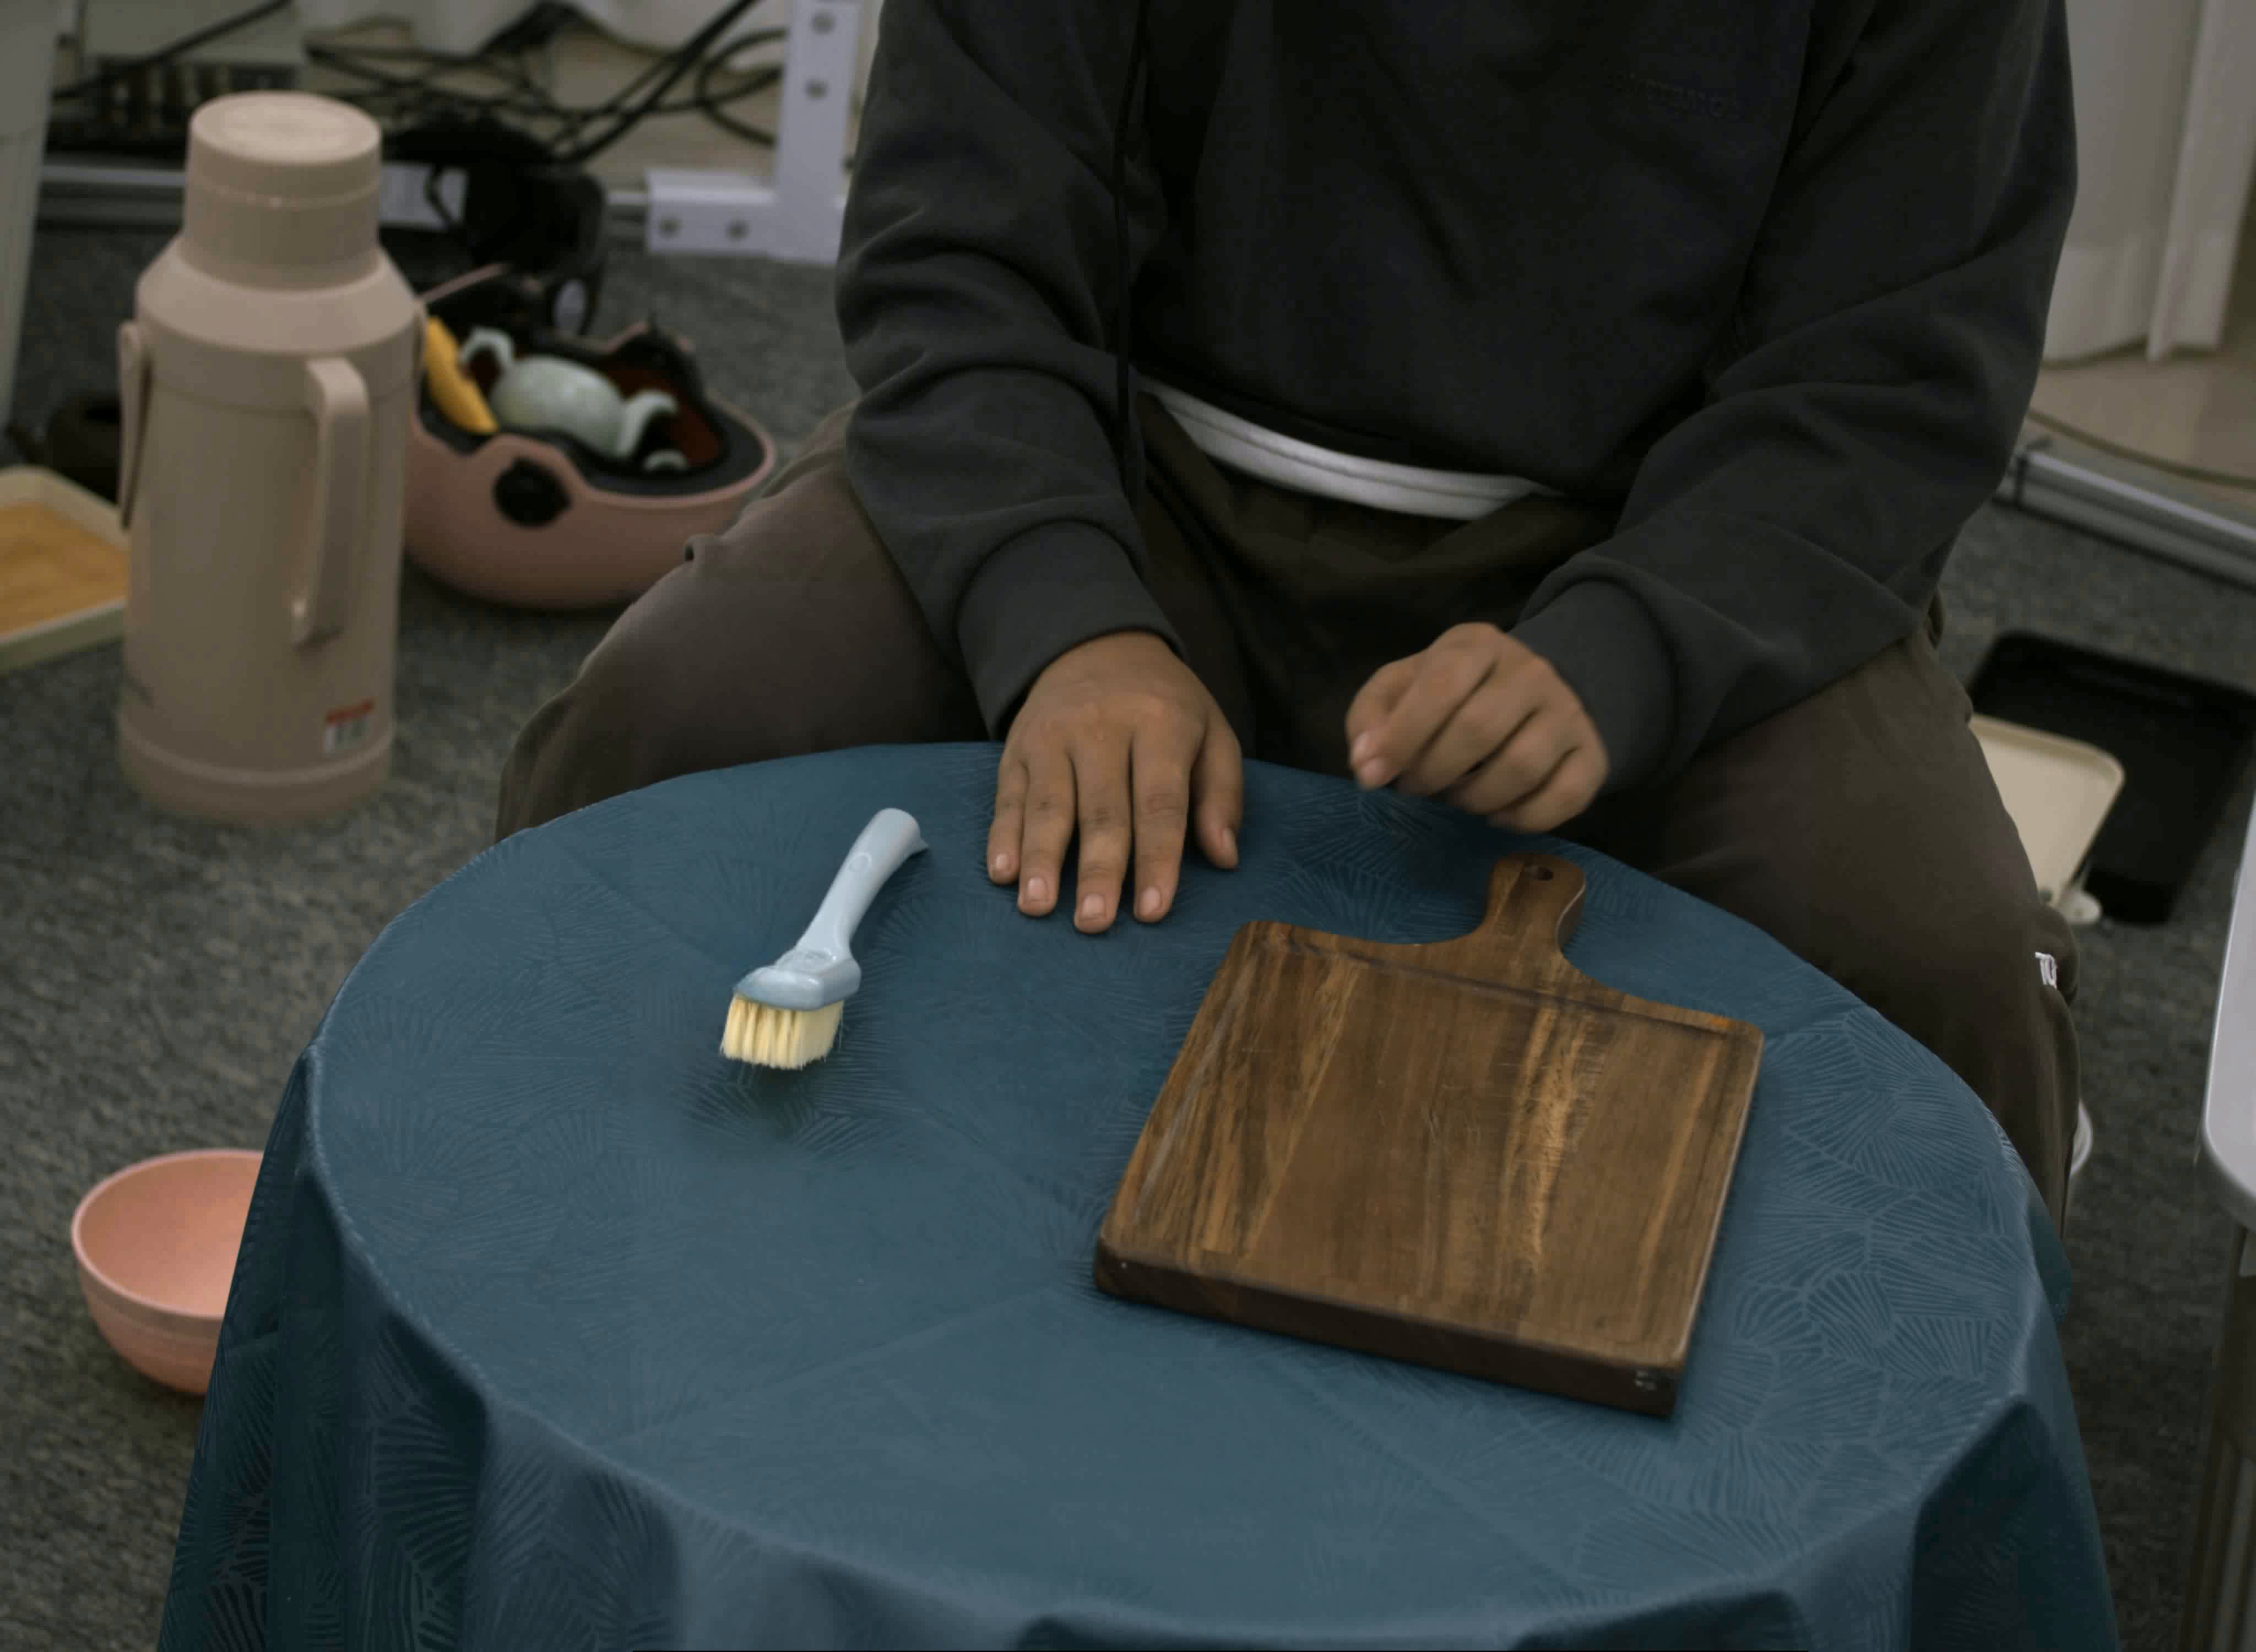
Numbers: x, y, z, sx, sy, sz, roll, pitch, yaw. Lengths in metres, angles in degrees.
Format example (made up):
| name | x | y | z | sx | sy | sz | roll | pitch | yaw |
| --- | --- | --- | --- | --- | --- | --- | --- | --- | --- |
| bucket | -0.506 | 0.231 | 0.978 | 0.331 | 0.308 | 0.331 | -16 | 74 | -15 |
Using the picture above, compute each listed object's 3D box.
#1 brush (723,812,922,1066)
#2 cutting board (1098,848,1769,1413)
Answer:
| name | x | y | z | sx | sy | sz | roll | pitch | yaw |
| --- | --- | --- | --- | --- | --- | --- | --- | --- | --- |
| brush | -0.107 | 0.041 | 1.911 | 0.038 | 0.049 | 0.229 | 12 | 18 | 5 |
| cutting board | 0.122 | 0.091 | 1.876 | 0.201 | 0.023 | 0.353 | 12 | 27 | 9 |
